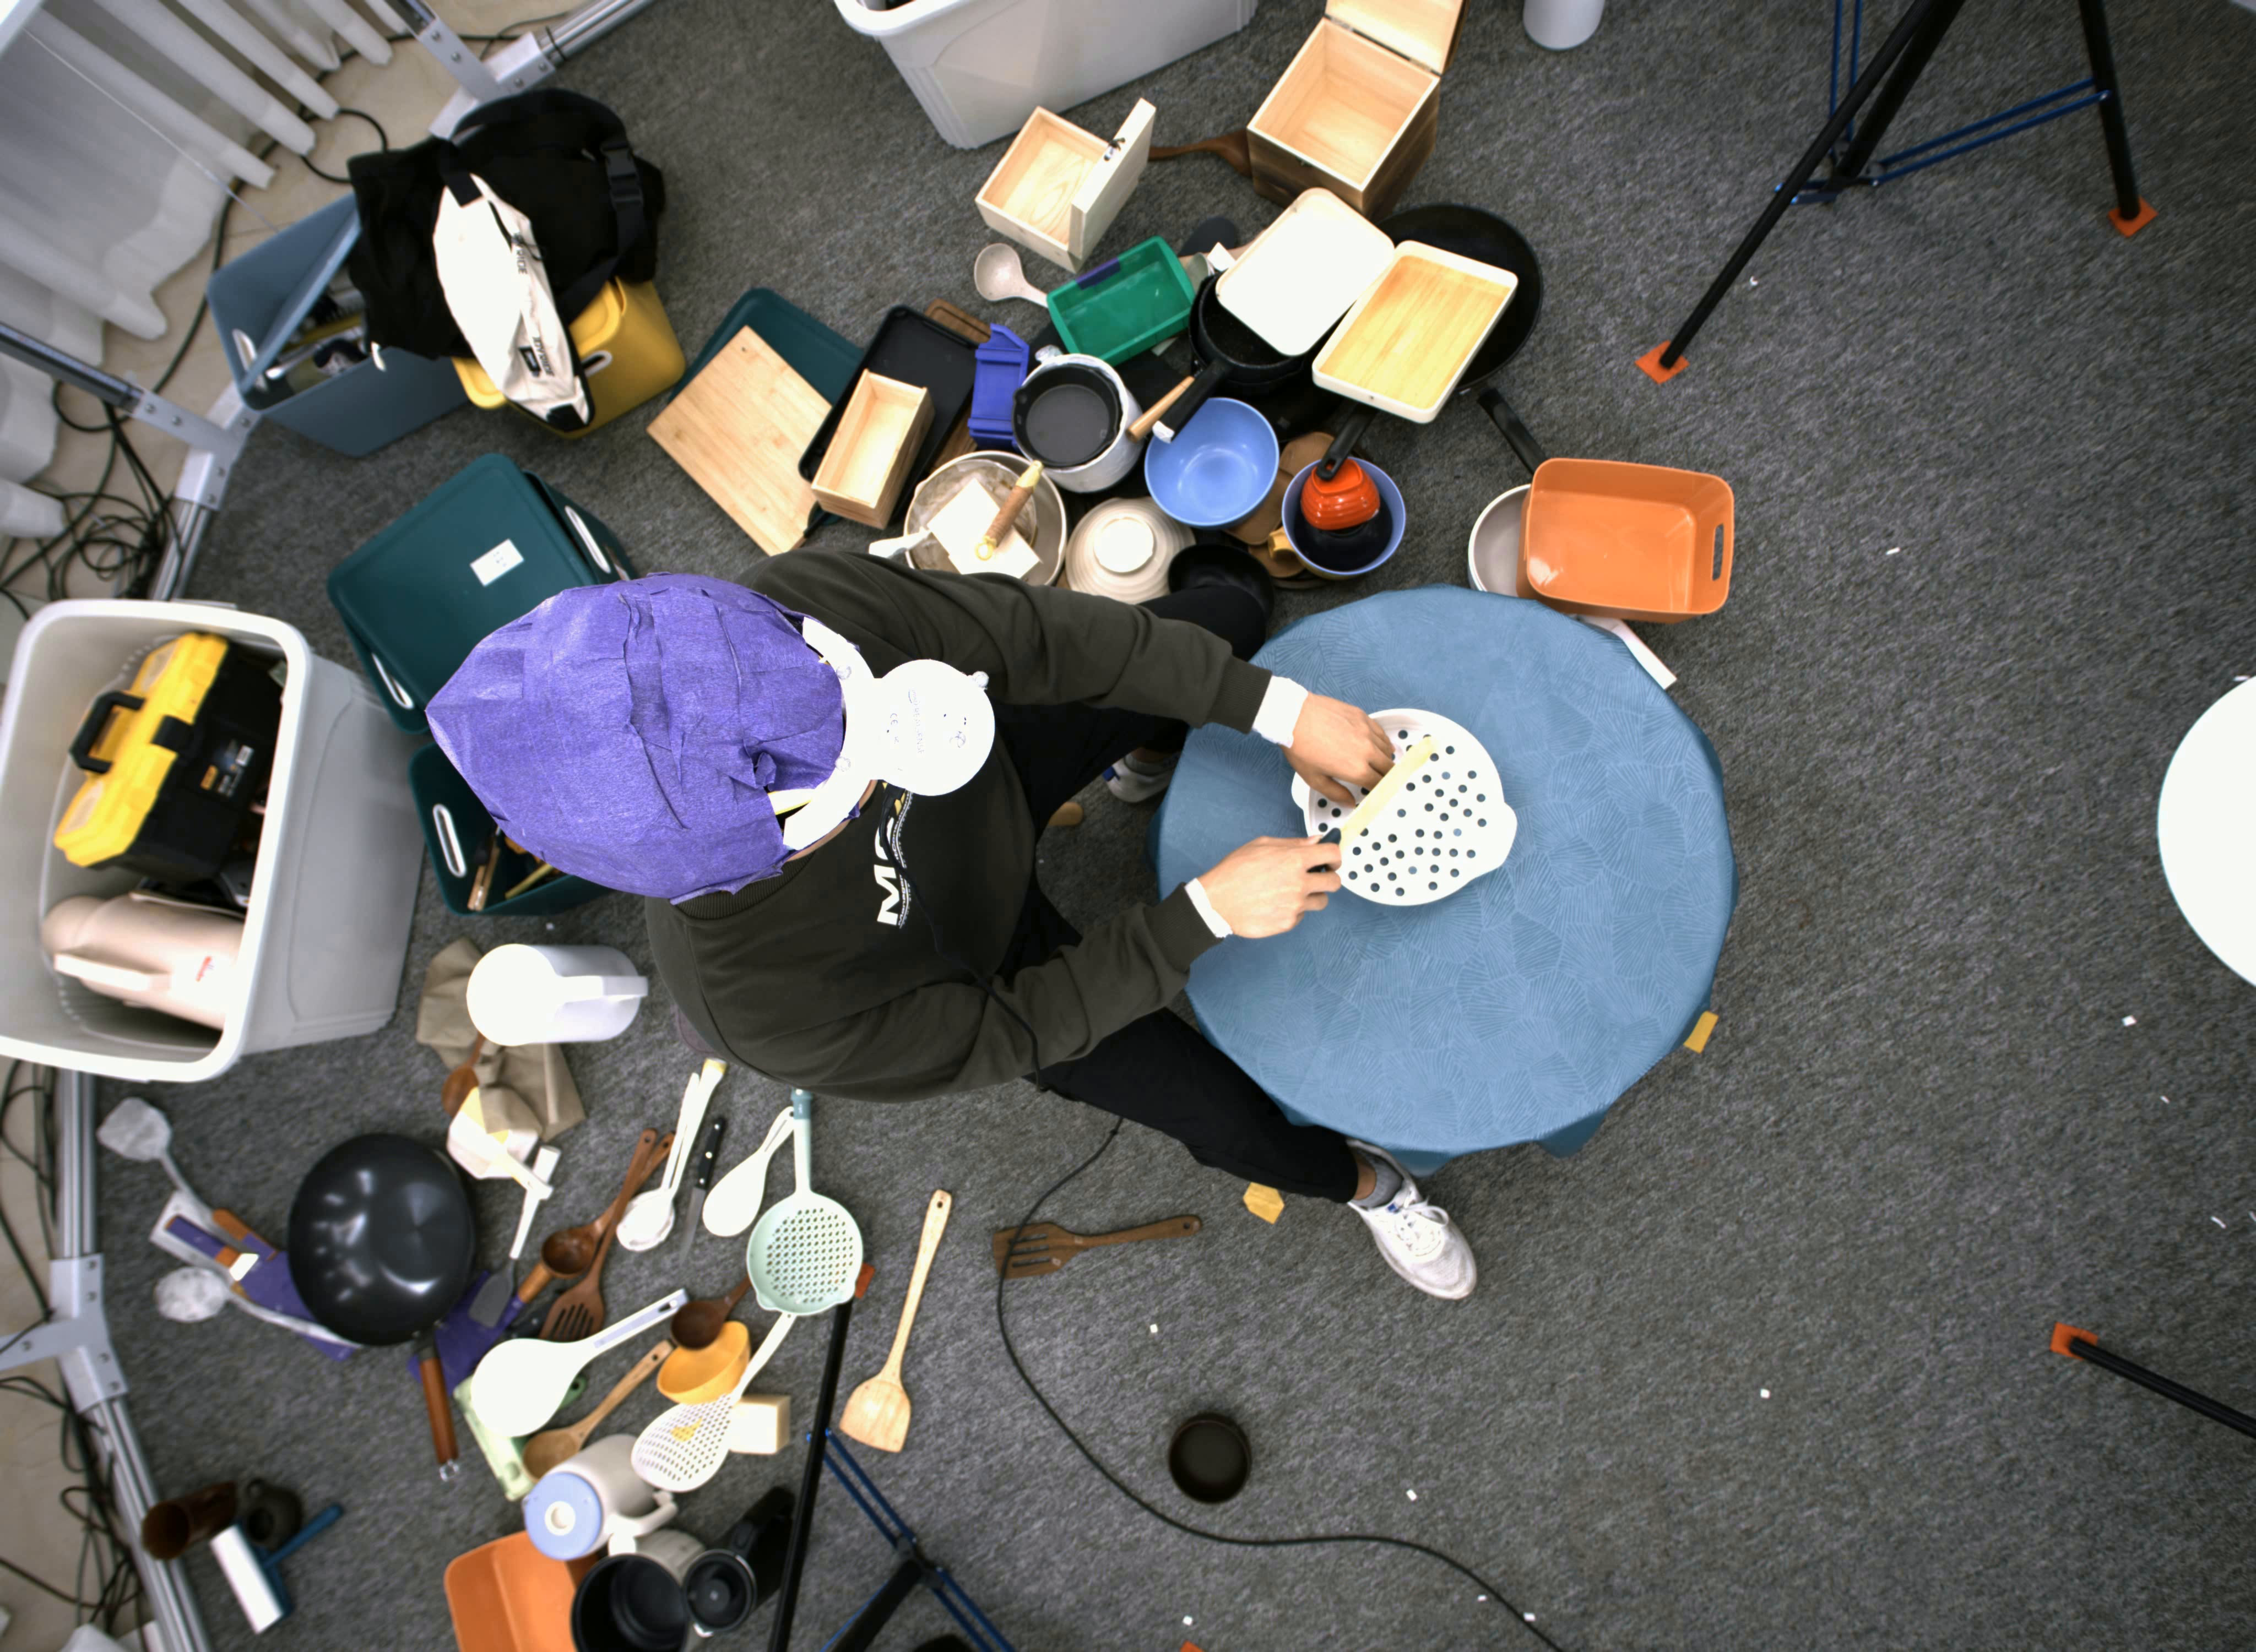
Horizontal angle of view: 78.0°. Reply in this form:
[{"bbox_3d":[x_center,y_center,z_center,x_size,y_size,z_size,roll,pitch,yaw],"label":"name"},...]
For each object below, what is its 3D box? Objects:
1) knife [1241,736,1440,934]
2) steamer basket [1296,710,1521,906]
[{"bbox_3d":[0.219,0.006,1.387,0.287,0.082,0.027,-44,65,-9],"label":"knife"},{"bbox_3d":[0.289,-0.017,1.428,0.230,0.069,0.201,20,90,13],"label":"steamer basket"}]
